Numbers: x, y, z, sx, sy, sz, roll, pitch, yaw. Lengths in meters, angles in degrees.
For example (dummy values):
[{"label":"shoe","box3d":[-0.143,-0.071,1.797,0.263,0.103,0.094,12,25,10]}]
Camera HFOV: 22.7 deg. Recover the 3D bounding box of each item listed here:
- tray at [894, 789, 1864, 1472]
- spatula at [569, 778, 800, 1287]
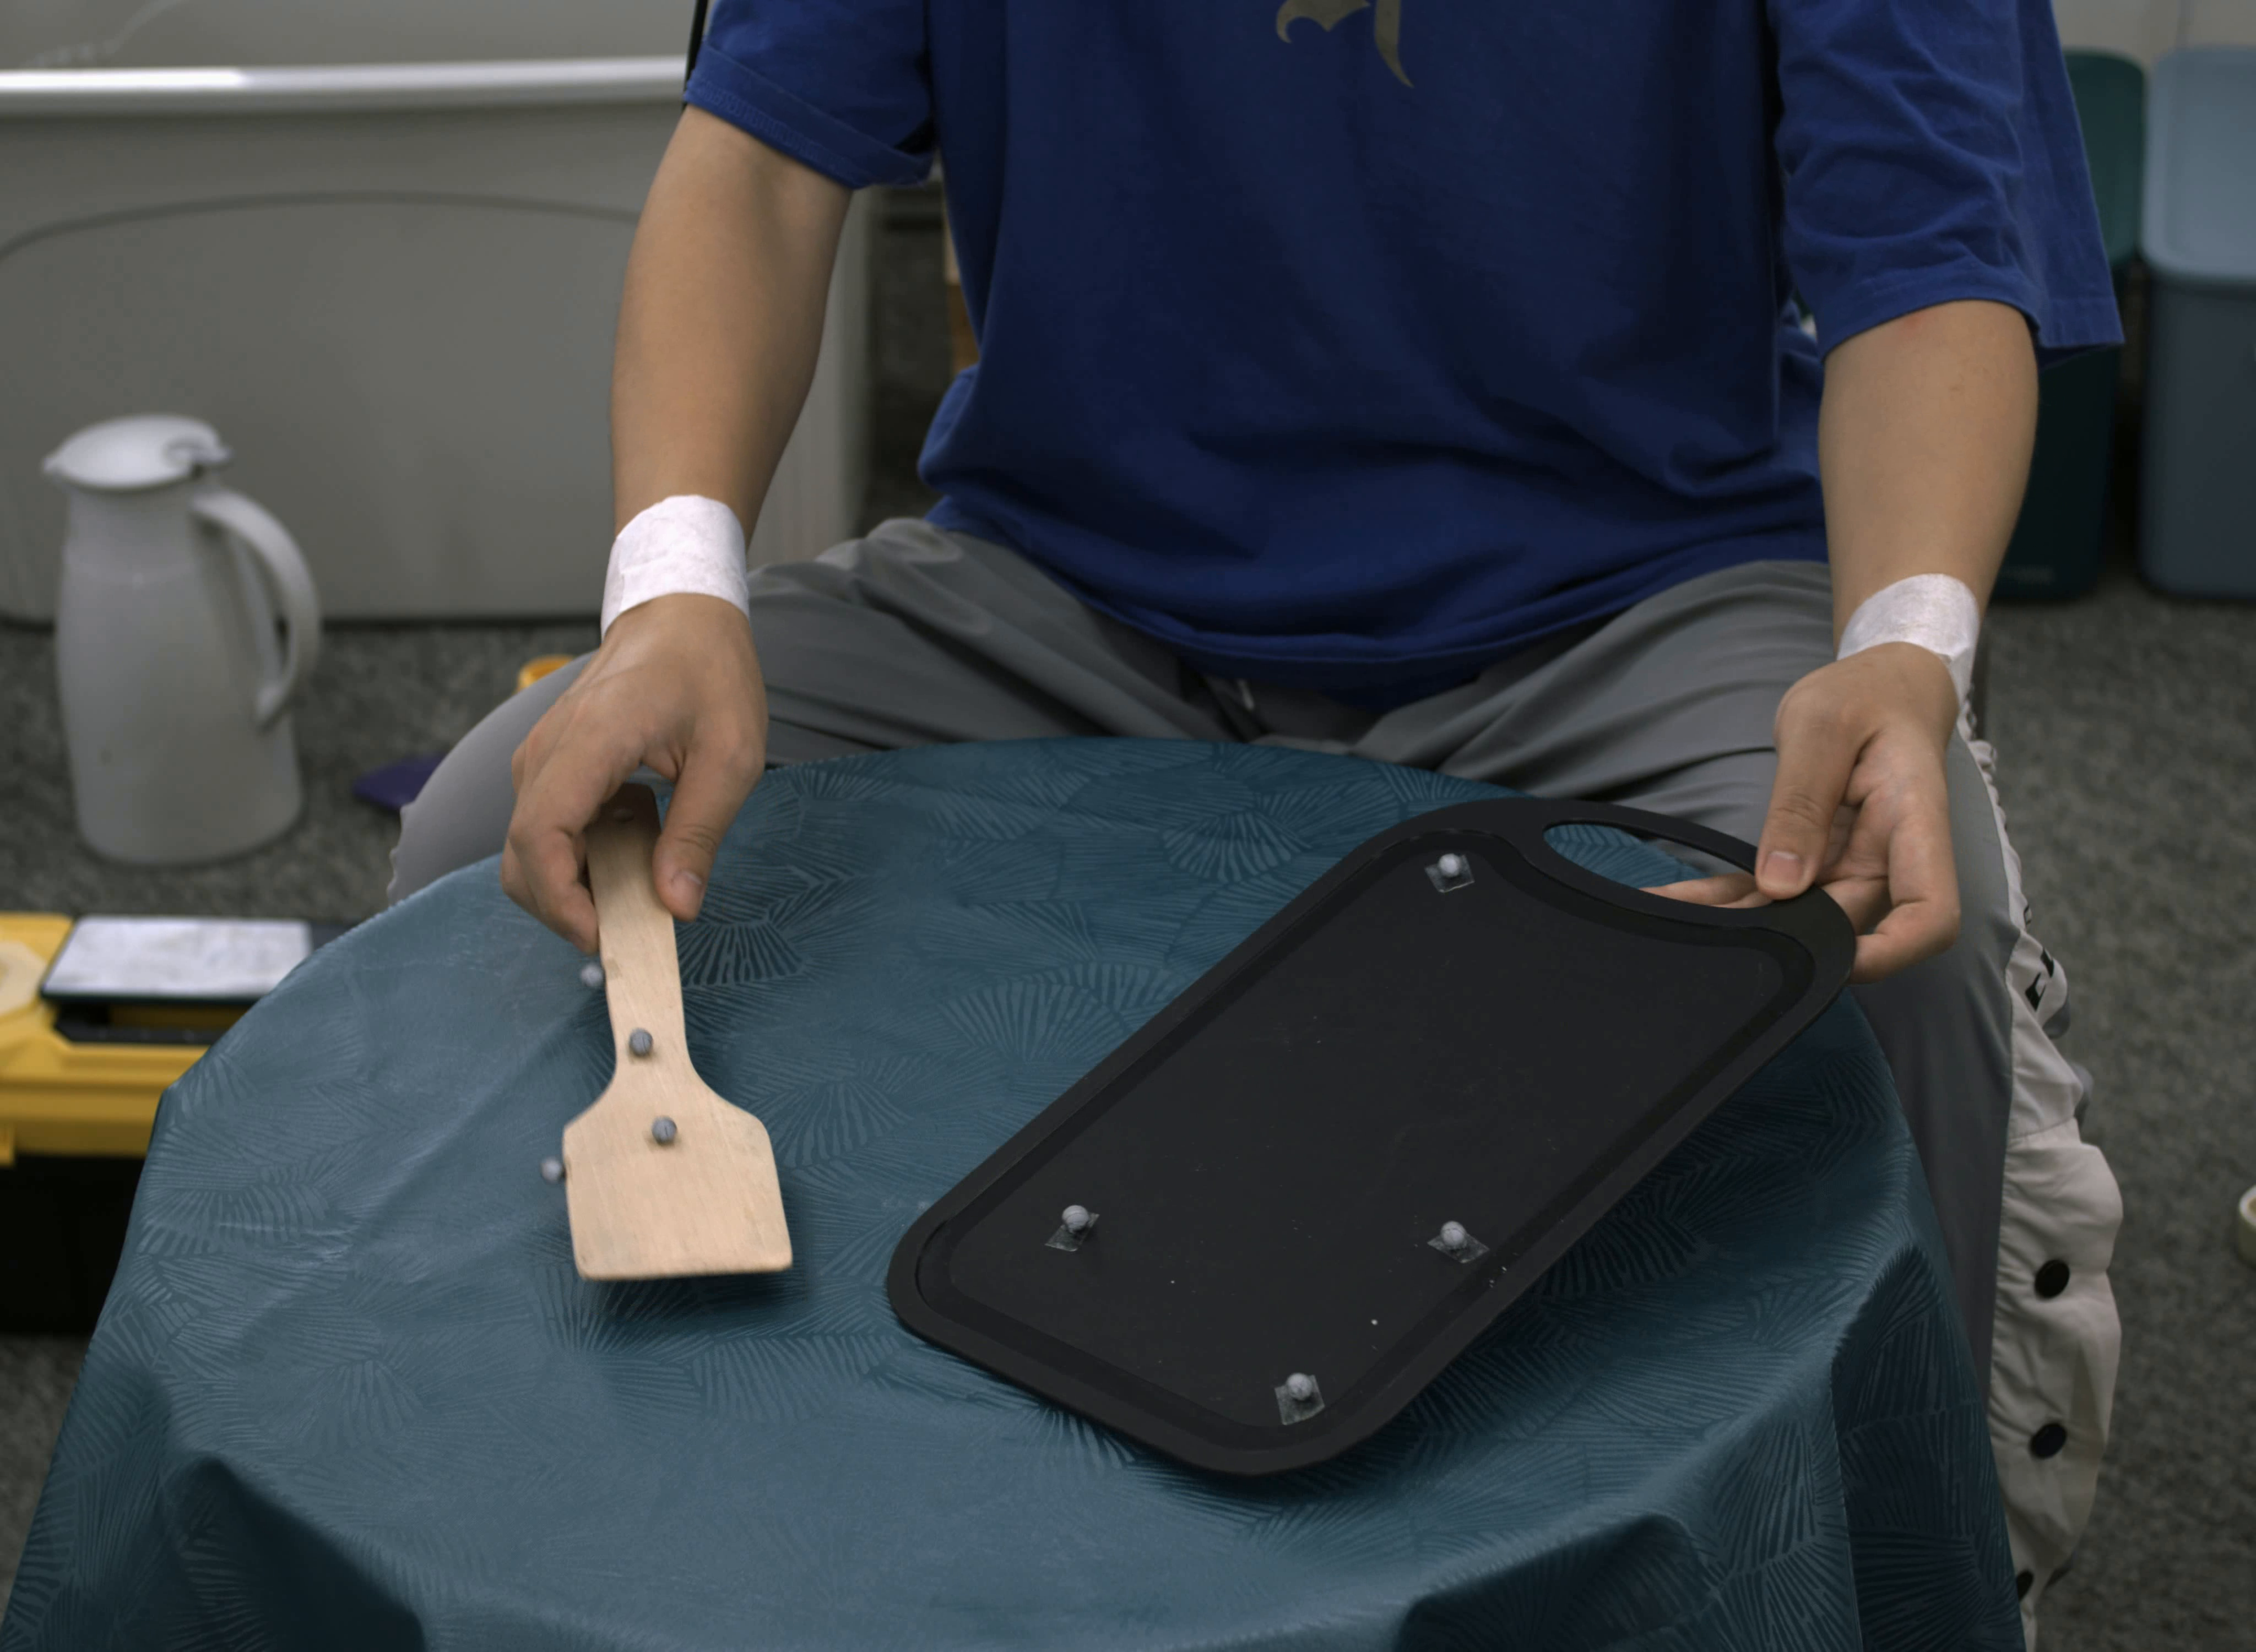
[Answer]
[{"label":"tray","box3d":[0.086,0.086,1.826,0.210,0.009,0.330,20,48,43]},{"label":"spatula","box3d":[-0.163,0.067,1.922,0.072,0.010,0.297,-4,34,-8]}]
